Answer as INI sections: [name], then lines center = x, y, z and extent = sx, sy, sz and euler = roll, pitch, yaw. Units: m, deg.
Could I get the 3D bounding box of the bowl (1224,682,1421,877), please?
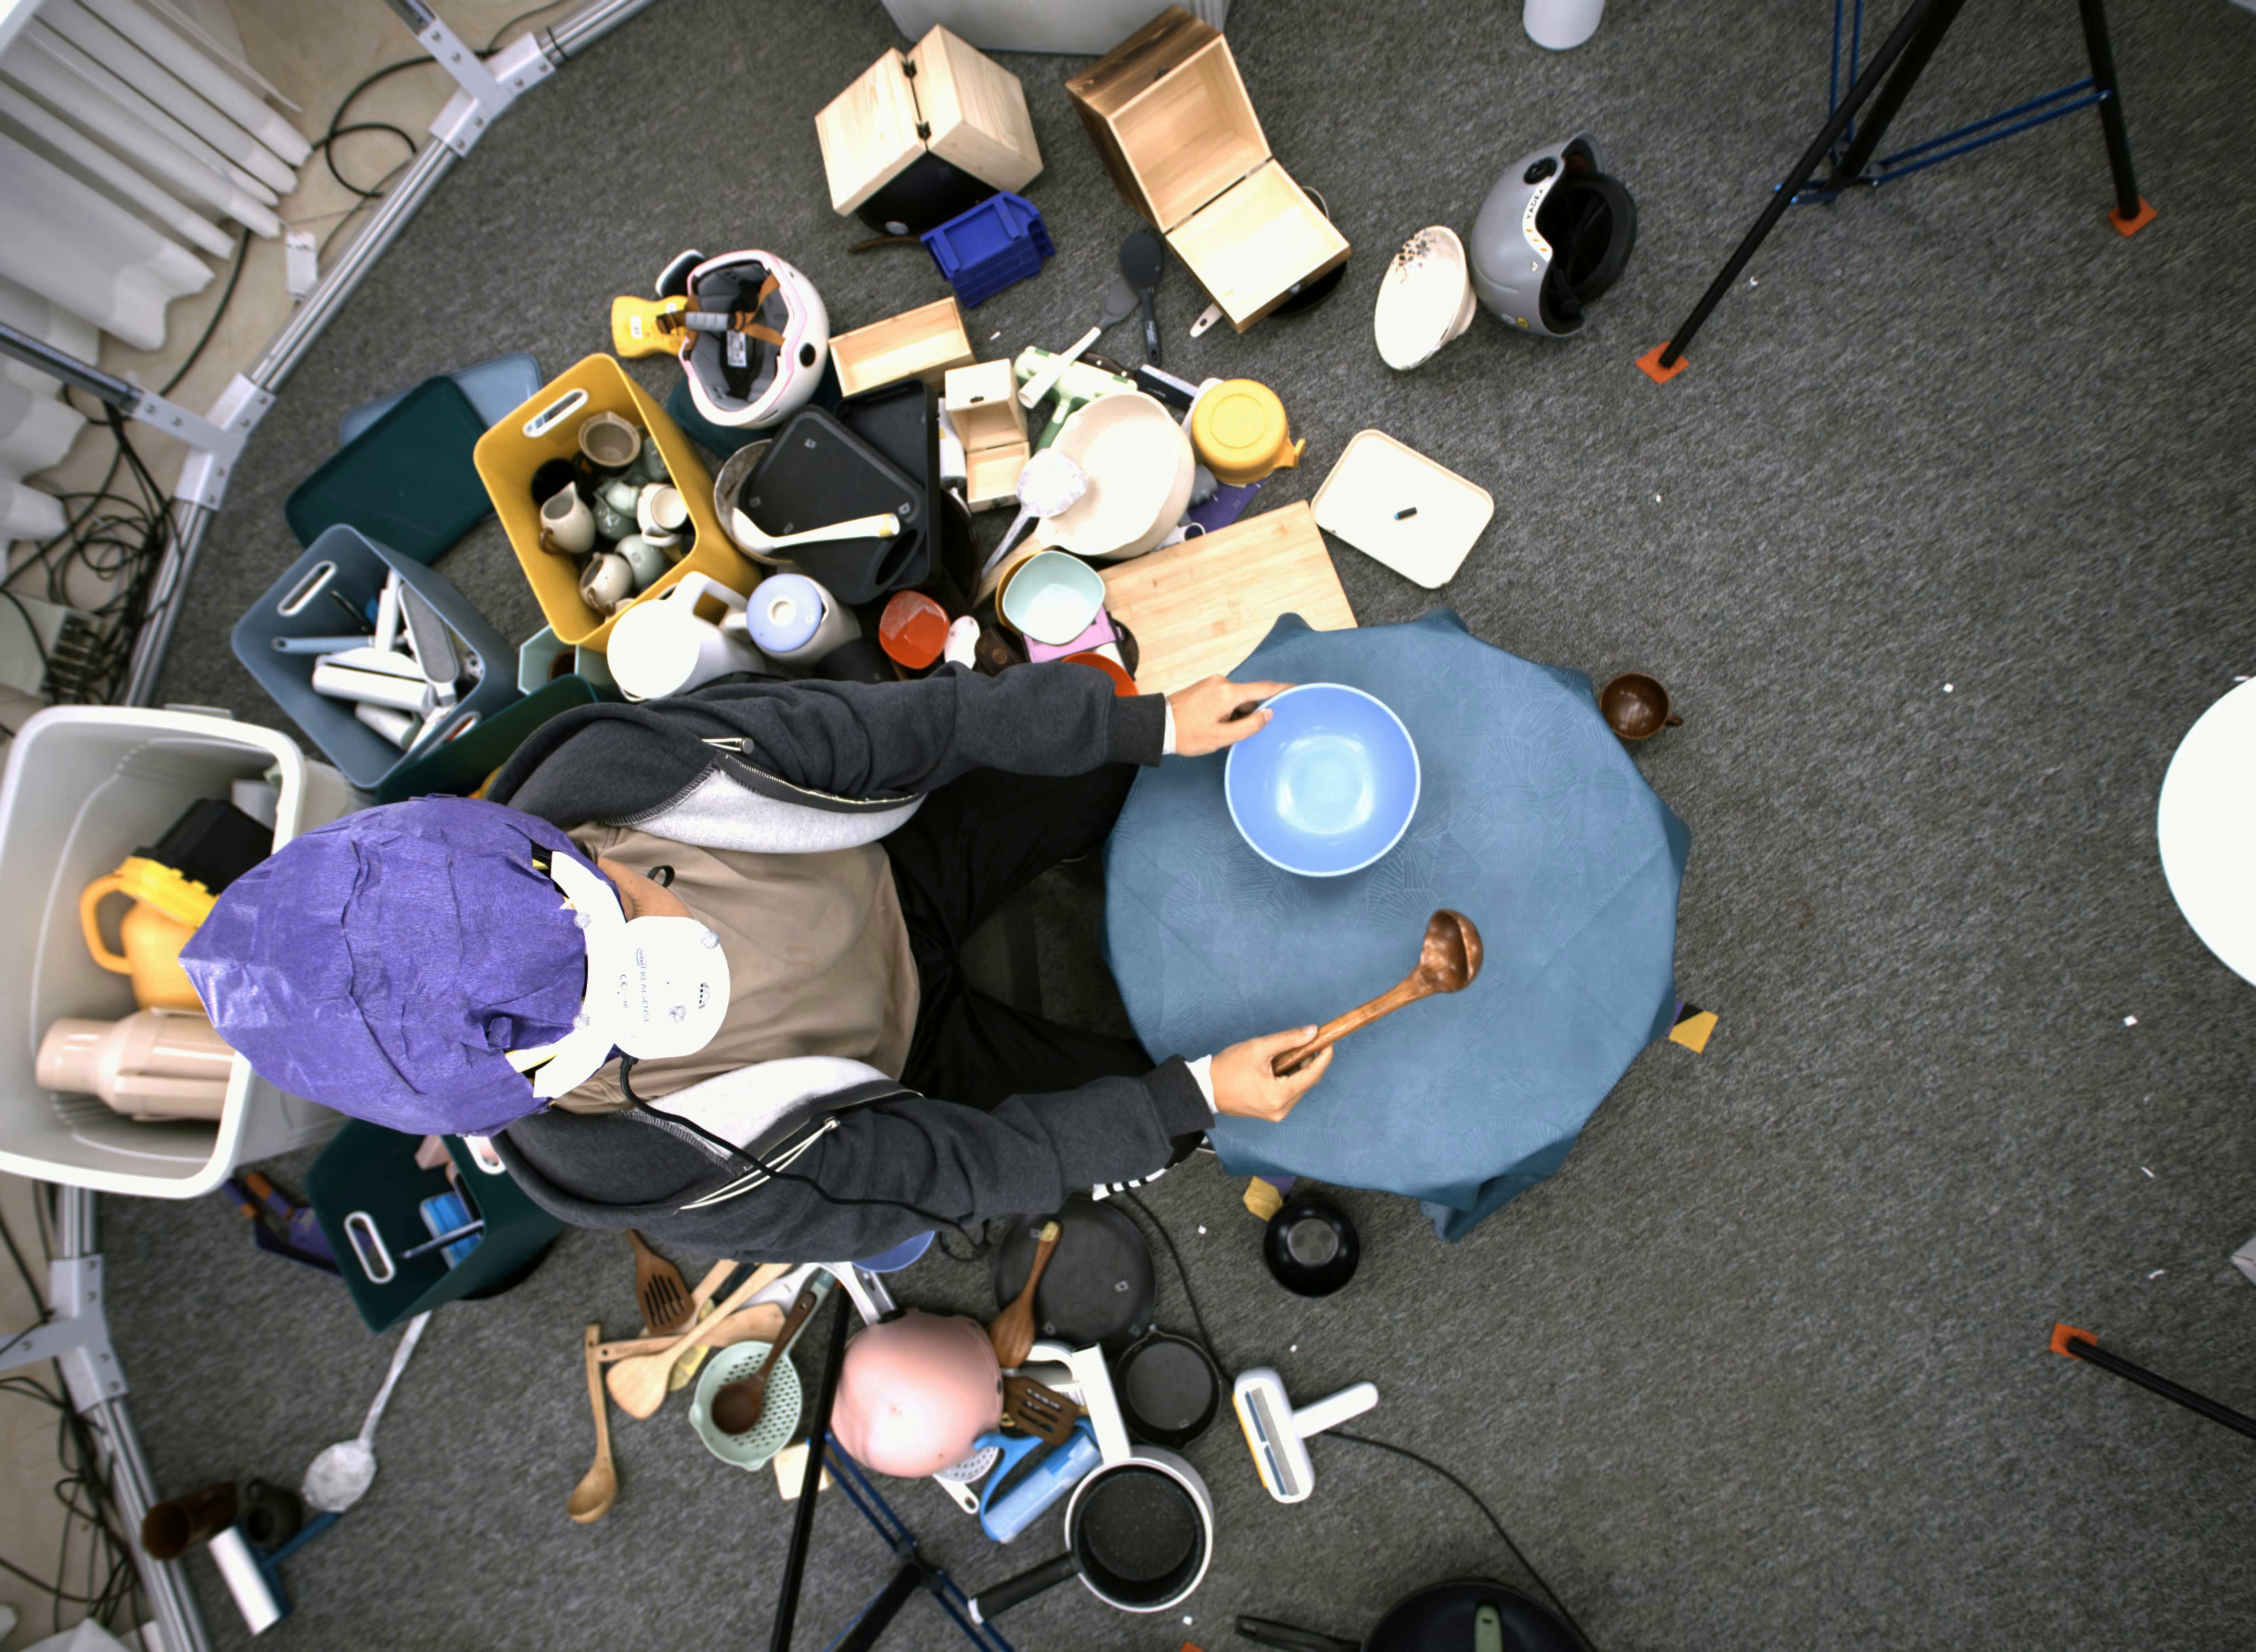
[bowl]
center = 0.202, -0.045, 1.424
extent = 0.197, 0.095, 0.196
euler = -1, 88, 12

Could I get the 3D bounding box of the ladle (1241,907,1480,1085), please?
[ladle]
center = 0.219, 0.171, 1.350
extent = 0.276, 0.078, 0.080
euler = -30, 45, 13
